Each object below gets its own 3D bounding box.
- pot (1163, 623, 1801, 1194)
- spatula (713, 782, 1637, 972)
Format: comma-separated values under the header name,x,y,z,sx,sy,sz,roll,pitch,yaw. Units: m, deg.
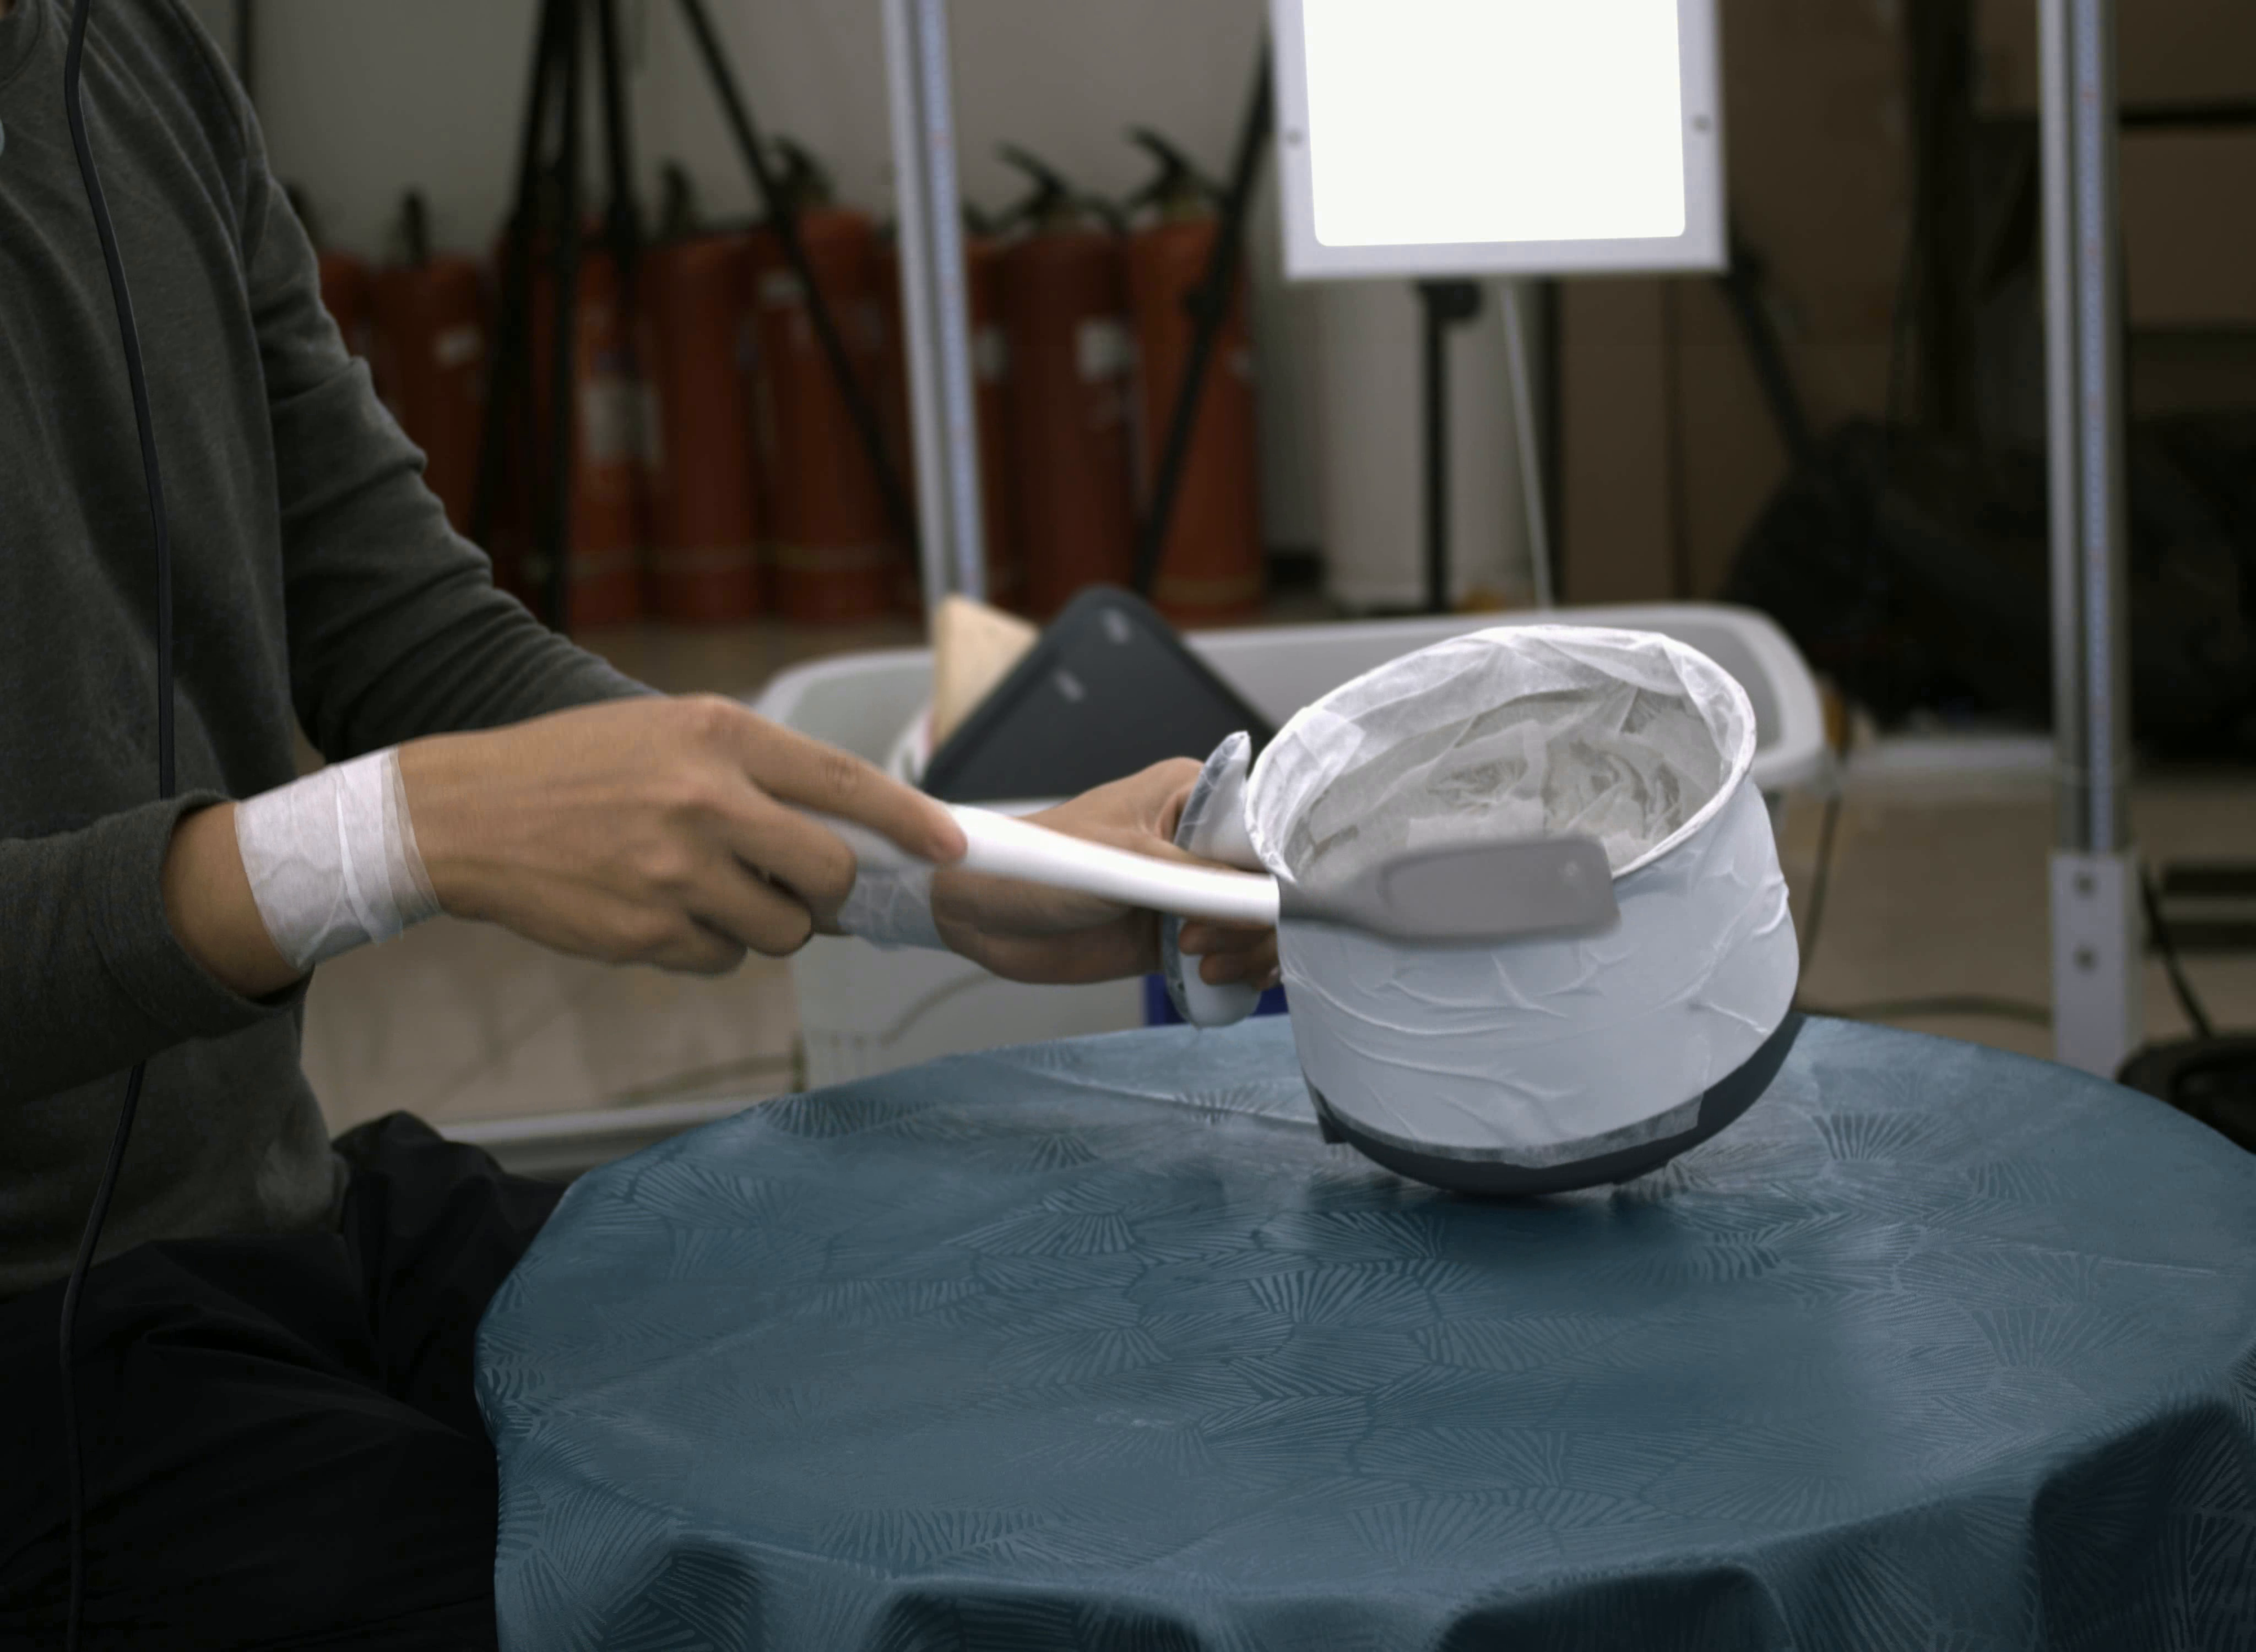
name,x,y,z,sx,sy,sz,roll,pitch,yaw
pot,0.114,0.029,1.897,0.238,0.136,0.175,3,35,29
spatula,0.015,0.017,1.699,0.285,0.032,0.058,6,34,-7
